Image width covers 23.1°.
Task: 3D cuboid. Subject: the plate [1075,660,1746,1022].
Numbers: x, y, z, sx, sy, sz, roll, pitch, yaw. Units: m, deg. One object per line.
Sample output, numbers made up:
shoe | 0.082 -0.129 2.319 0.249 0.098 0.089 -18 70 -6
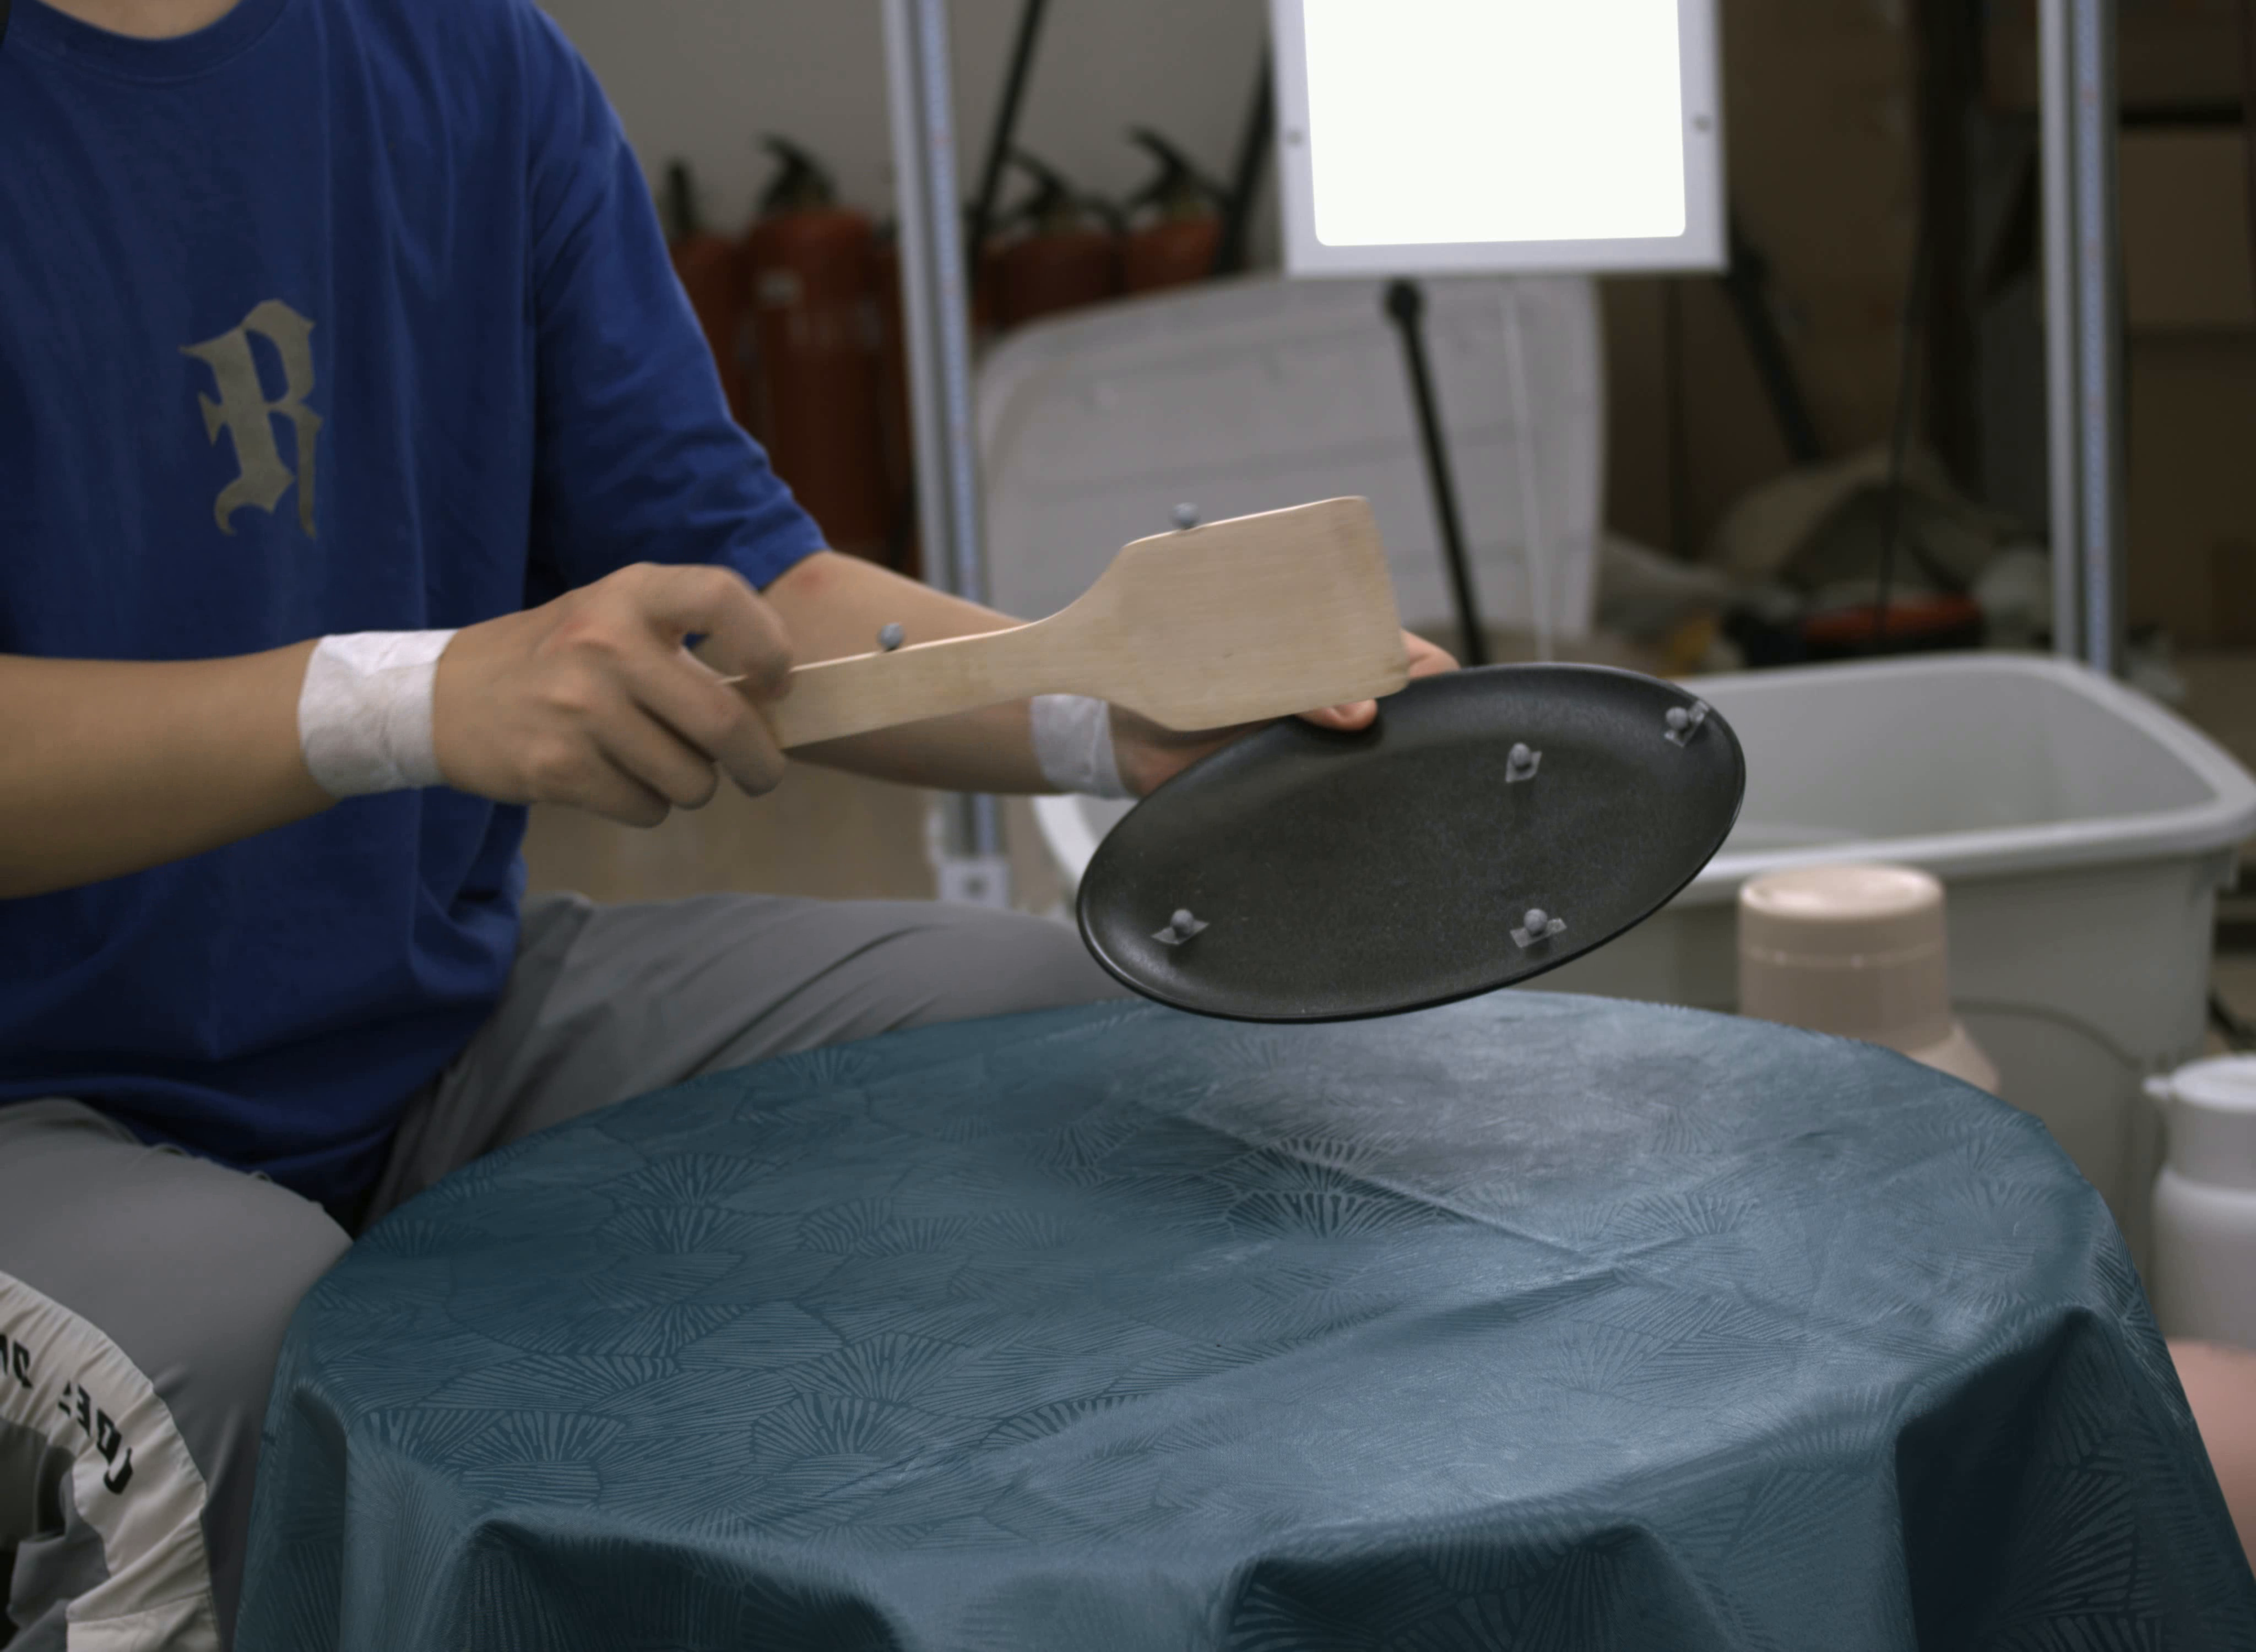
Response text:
plate | 0.101 0.010 1.942 0.245 0.023 0.244 -14 27 6

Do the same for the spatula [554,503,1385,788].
spatula | -0.059 -0.051 1.862 0.296 0.072 0.010 -10 18 18
